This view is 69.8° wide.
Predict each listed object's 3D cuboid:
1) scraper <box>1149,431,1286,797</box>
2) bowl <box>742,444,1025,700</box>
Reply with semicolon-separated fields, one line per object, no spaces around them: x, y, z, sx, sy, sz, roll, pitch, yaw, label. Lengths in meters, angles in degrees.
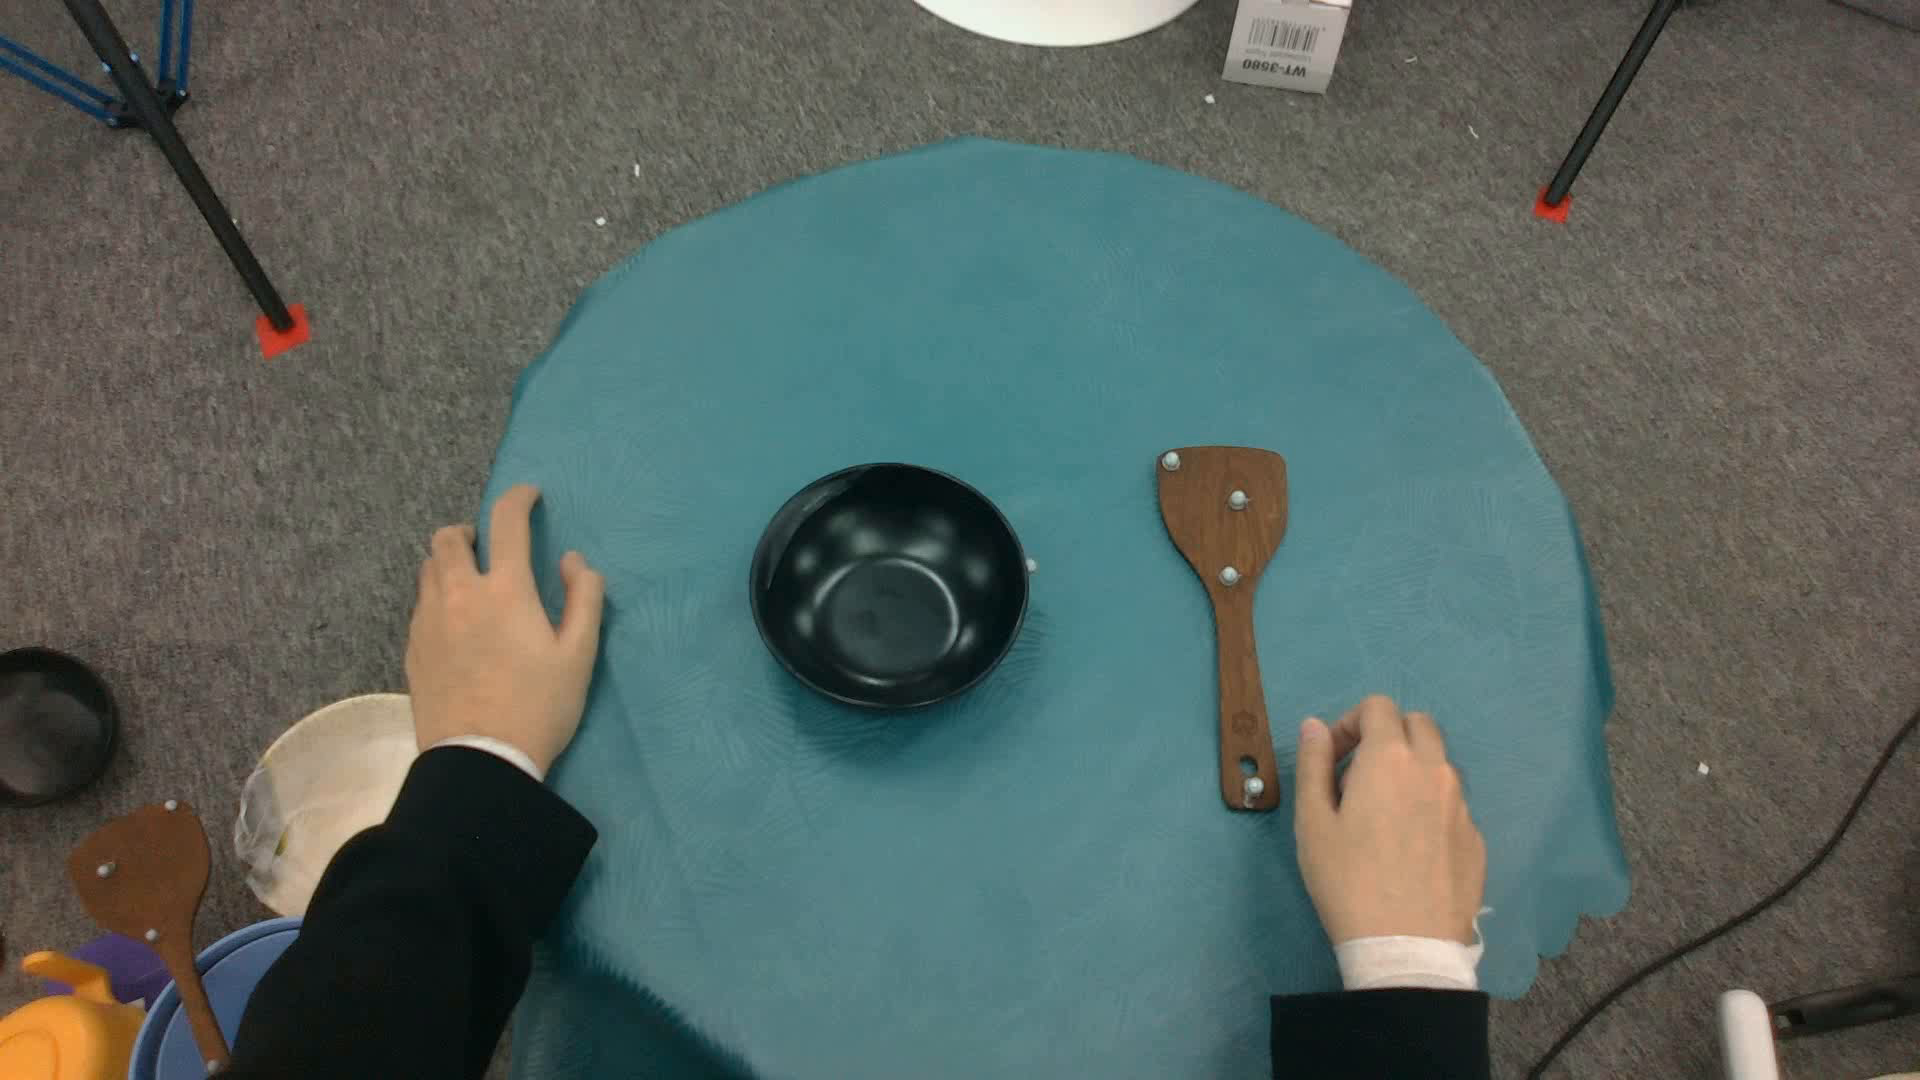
0.141;0.033;0.723;0.076;0.011;0.212;2;61;-1;scraper
-0.039;0.022;0.695;0.140;0.049;0.140;3;60;-5;bowl
